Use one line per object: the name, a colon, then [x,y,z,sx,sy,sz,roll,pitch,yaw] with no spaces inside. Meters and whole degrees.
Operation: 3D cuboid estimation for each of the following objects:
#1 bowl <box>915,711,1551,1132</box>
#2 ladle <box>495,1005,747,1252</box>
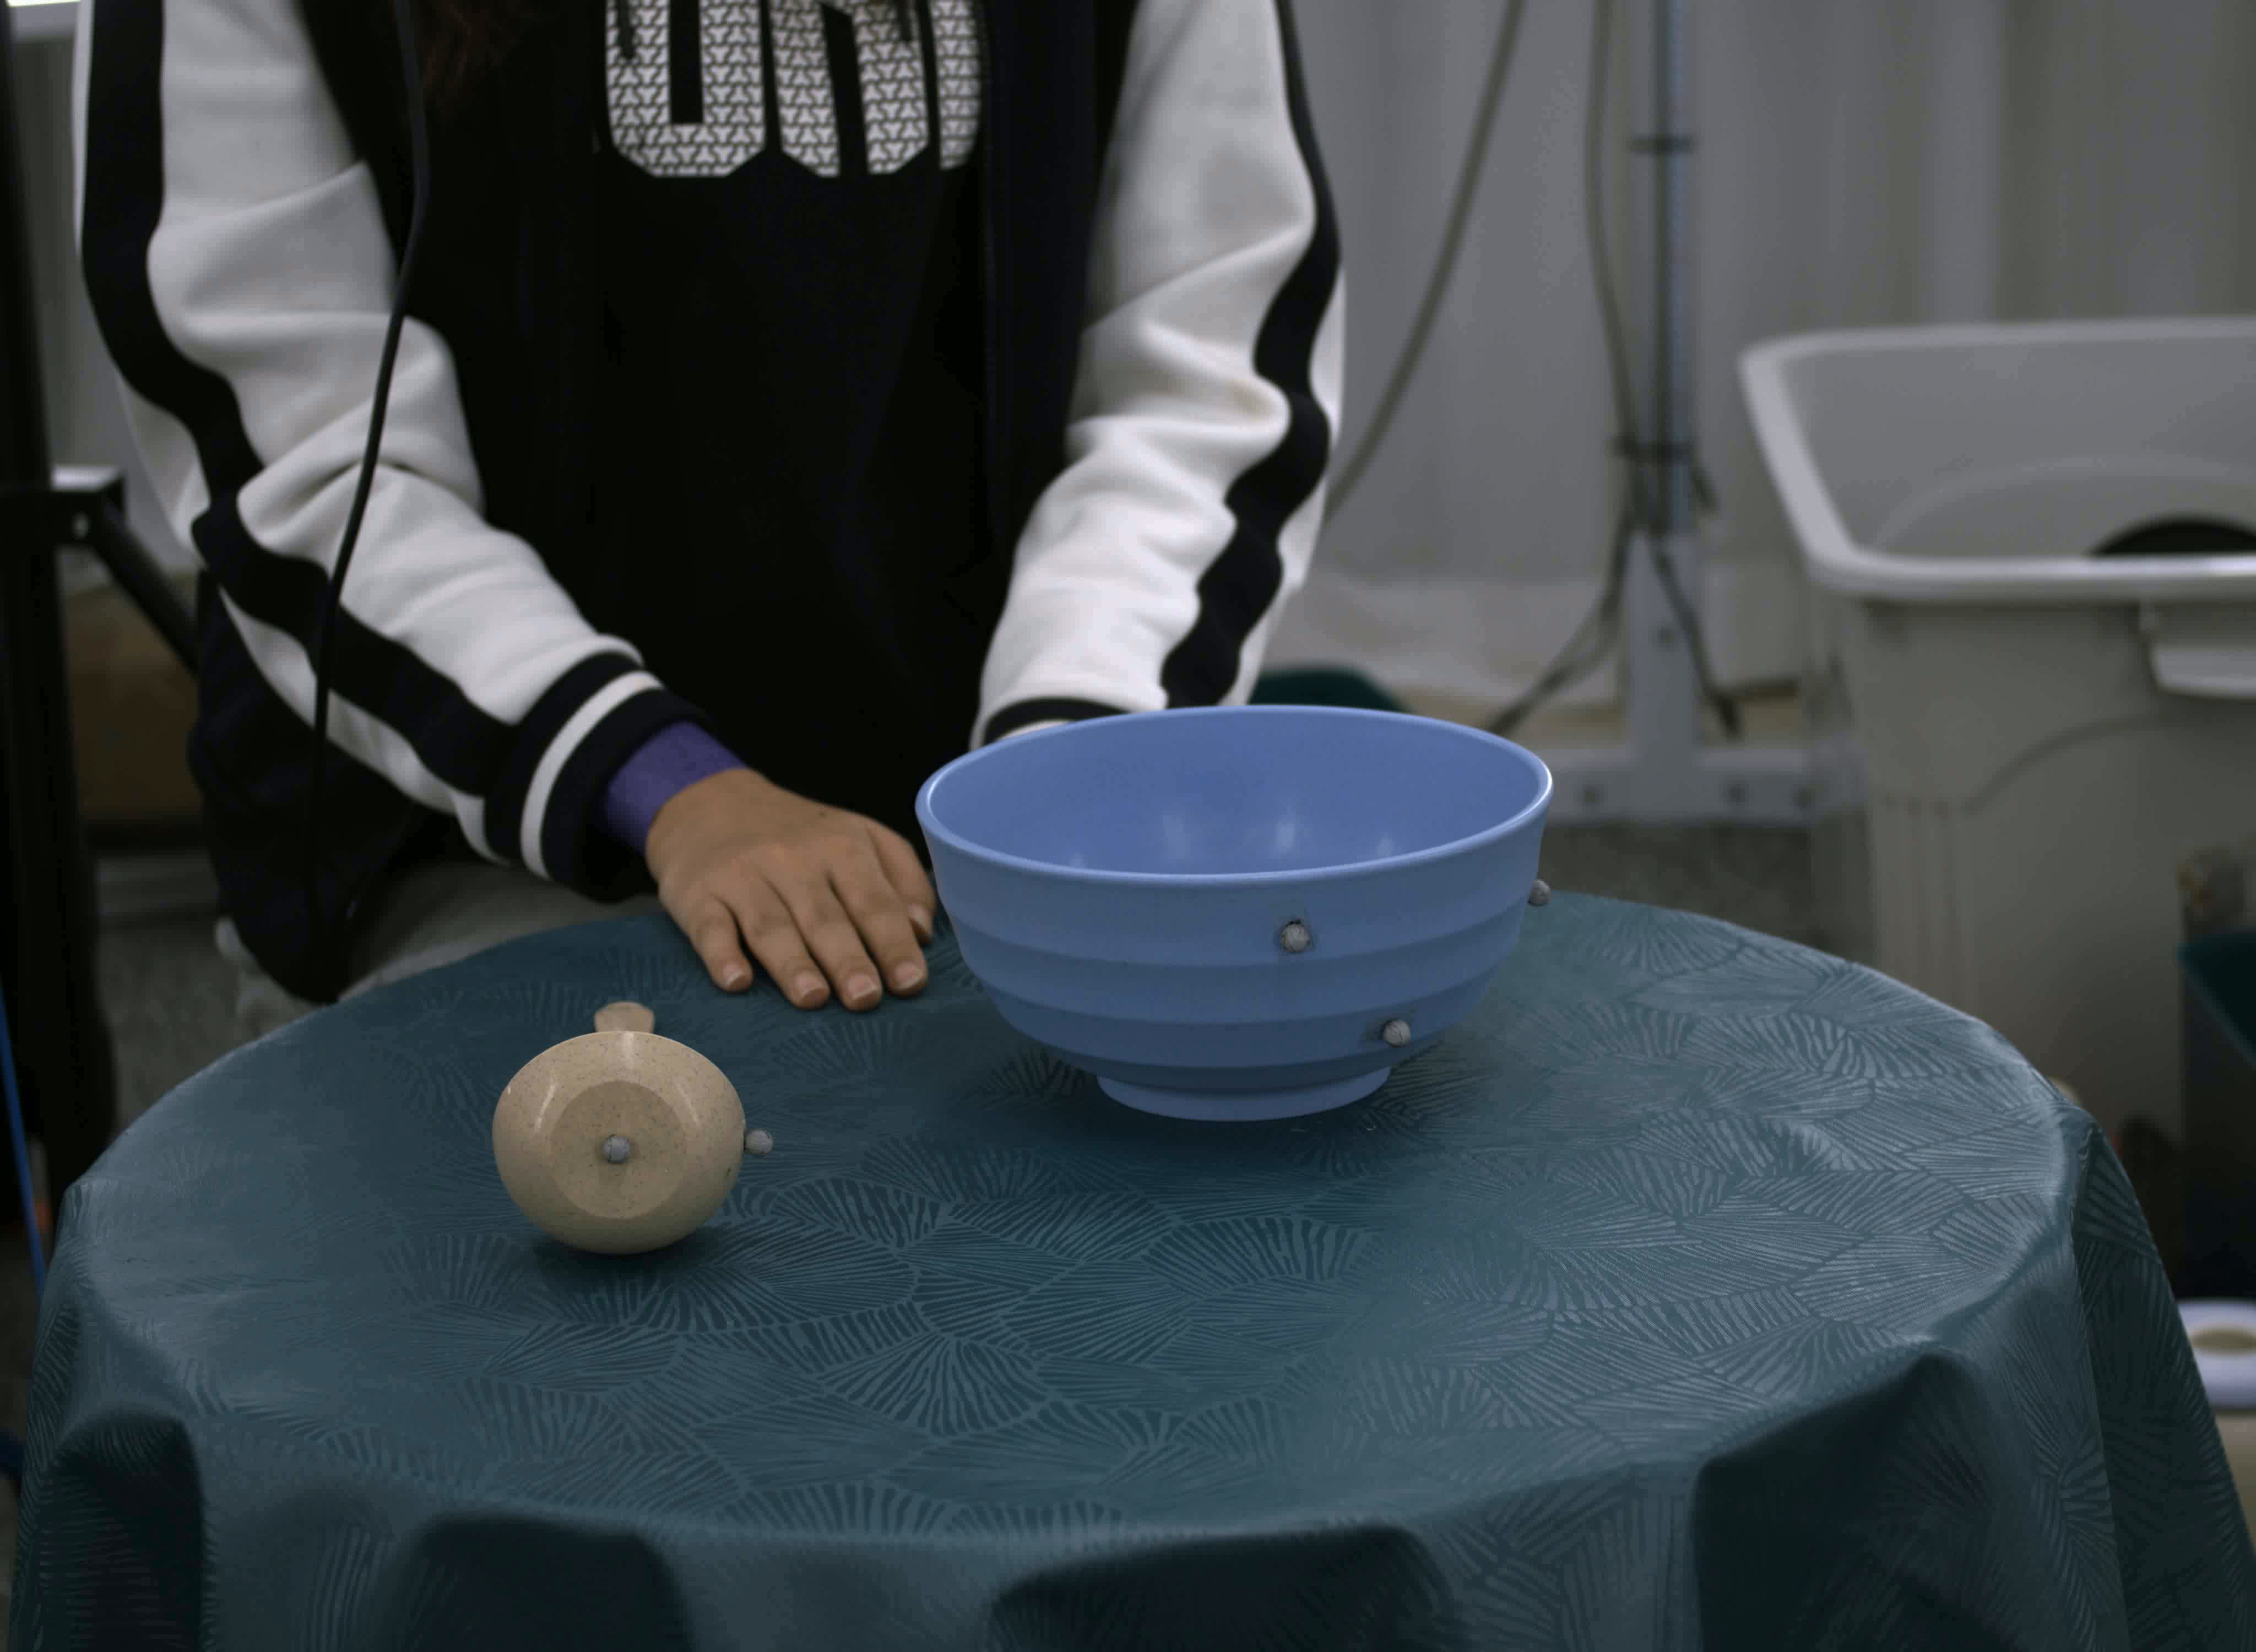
bowl: [0.035,0.035,1.646,0.195,0.095,0.197,-4,16,0]
ladle: [-0.156,0.061,1.615,0.071,0.073,0.257,-3,15,-6]
